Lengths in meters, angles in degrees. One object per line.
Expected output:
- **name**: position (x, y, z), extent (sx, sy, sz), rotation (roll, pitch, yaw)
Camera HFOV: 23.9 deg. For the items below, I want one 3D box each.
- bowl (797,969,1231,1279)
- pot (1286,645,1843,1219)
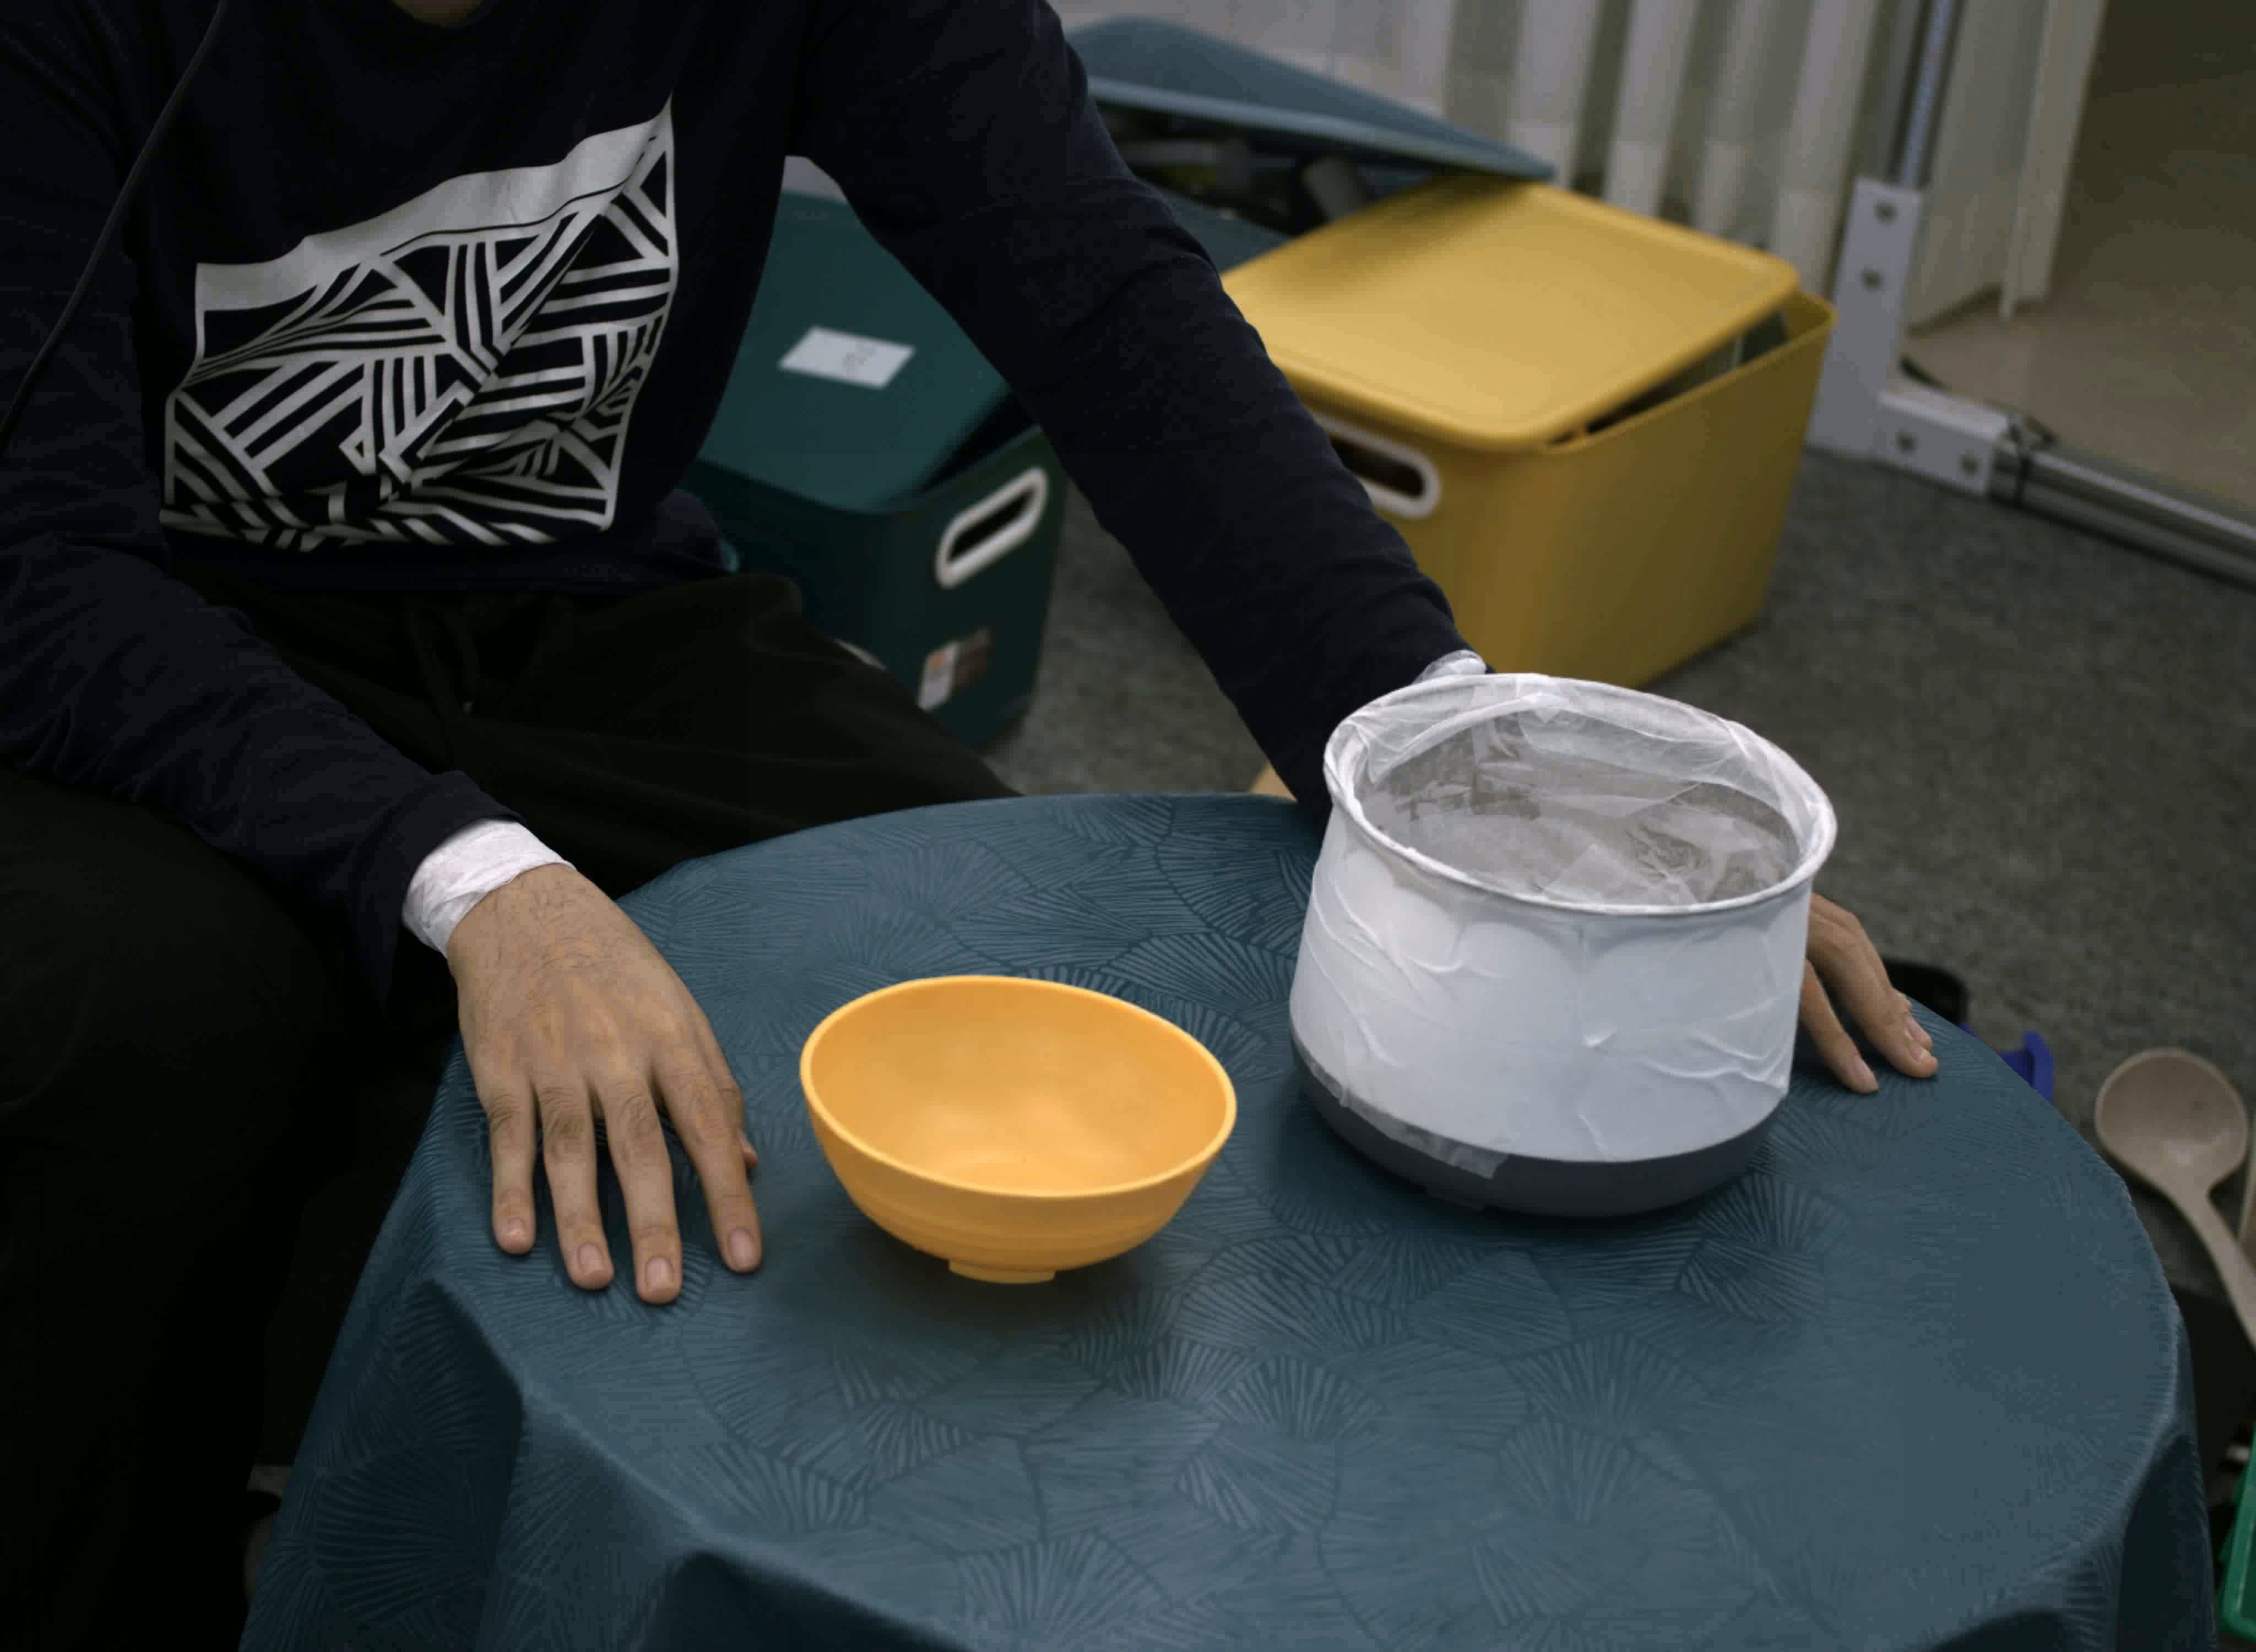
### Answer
- **bowl**: position (-0.041, 0.107, 1.759), extent (0.145, 0.060, 0.146), rotation (6, 27, -4)
- **pot**: position (0.137, 0.030, 1.869), extent (0.177, 0.136, 0.236), rotation (-2, 29, -23)
